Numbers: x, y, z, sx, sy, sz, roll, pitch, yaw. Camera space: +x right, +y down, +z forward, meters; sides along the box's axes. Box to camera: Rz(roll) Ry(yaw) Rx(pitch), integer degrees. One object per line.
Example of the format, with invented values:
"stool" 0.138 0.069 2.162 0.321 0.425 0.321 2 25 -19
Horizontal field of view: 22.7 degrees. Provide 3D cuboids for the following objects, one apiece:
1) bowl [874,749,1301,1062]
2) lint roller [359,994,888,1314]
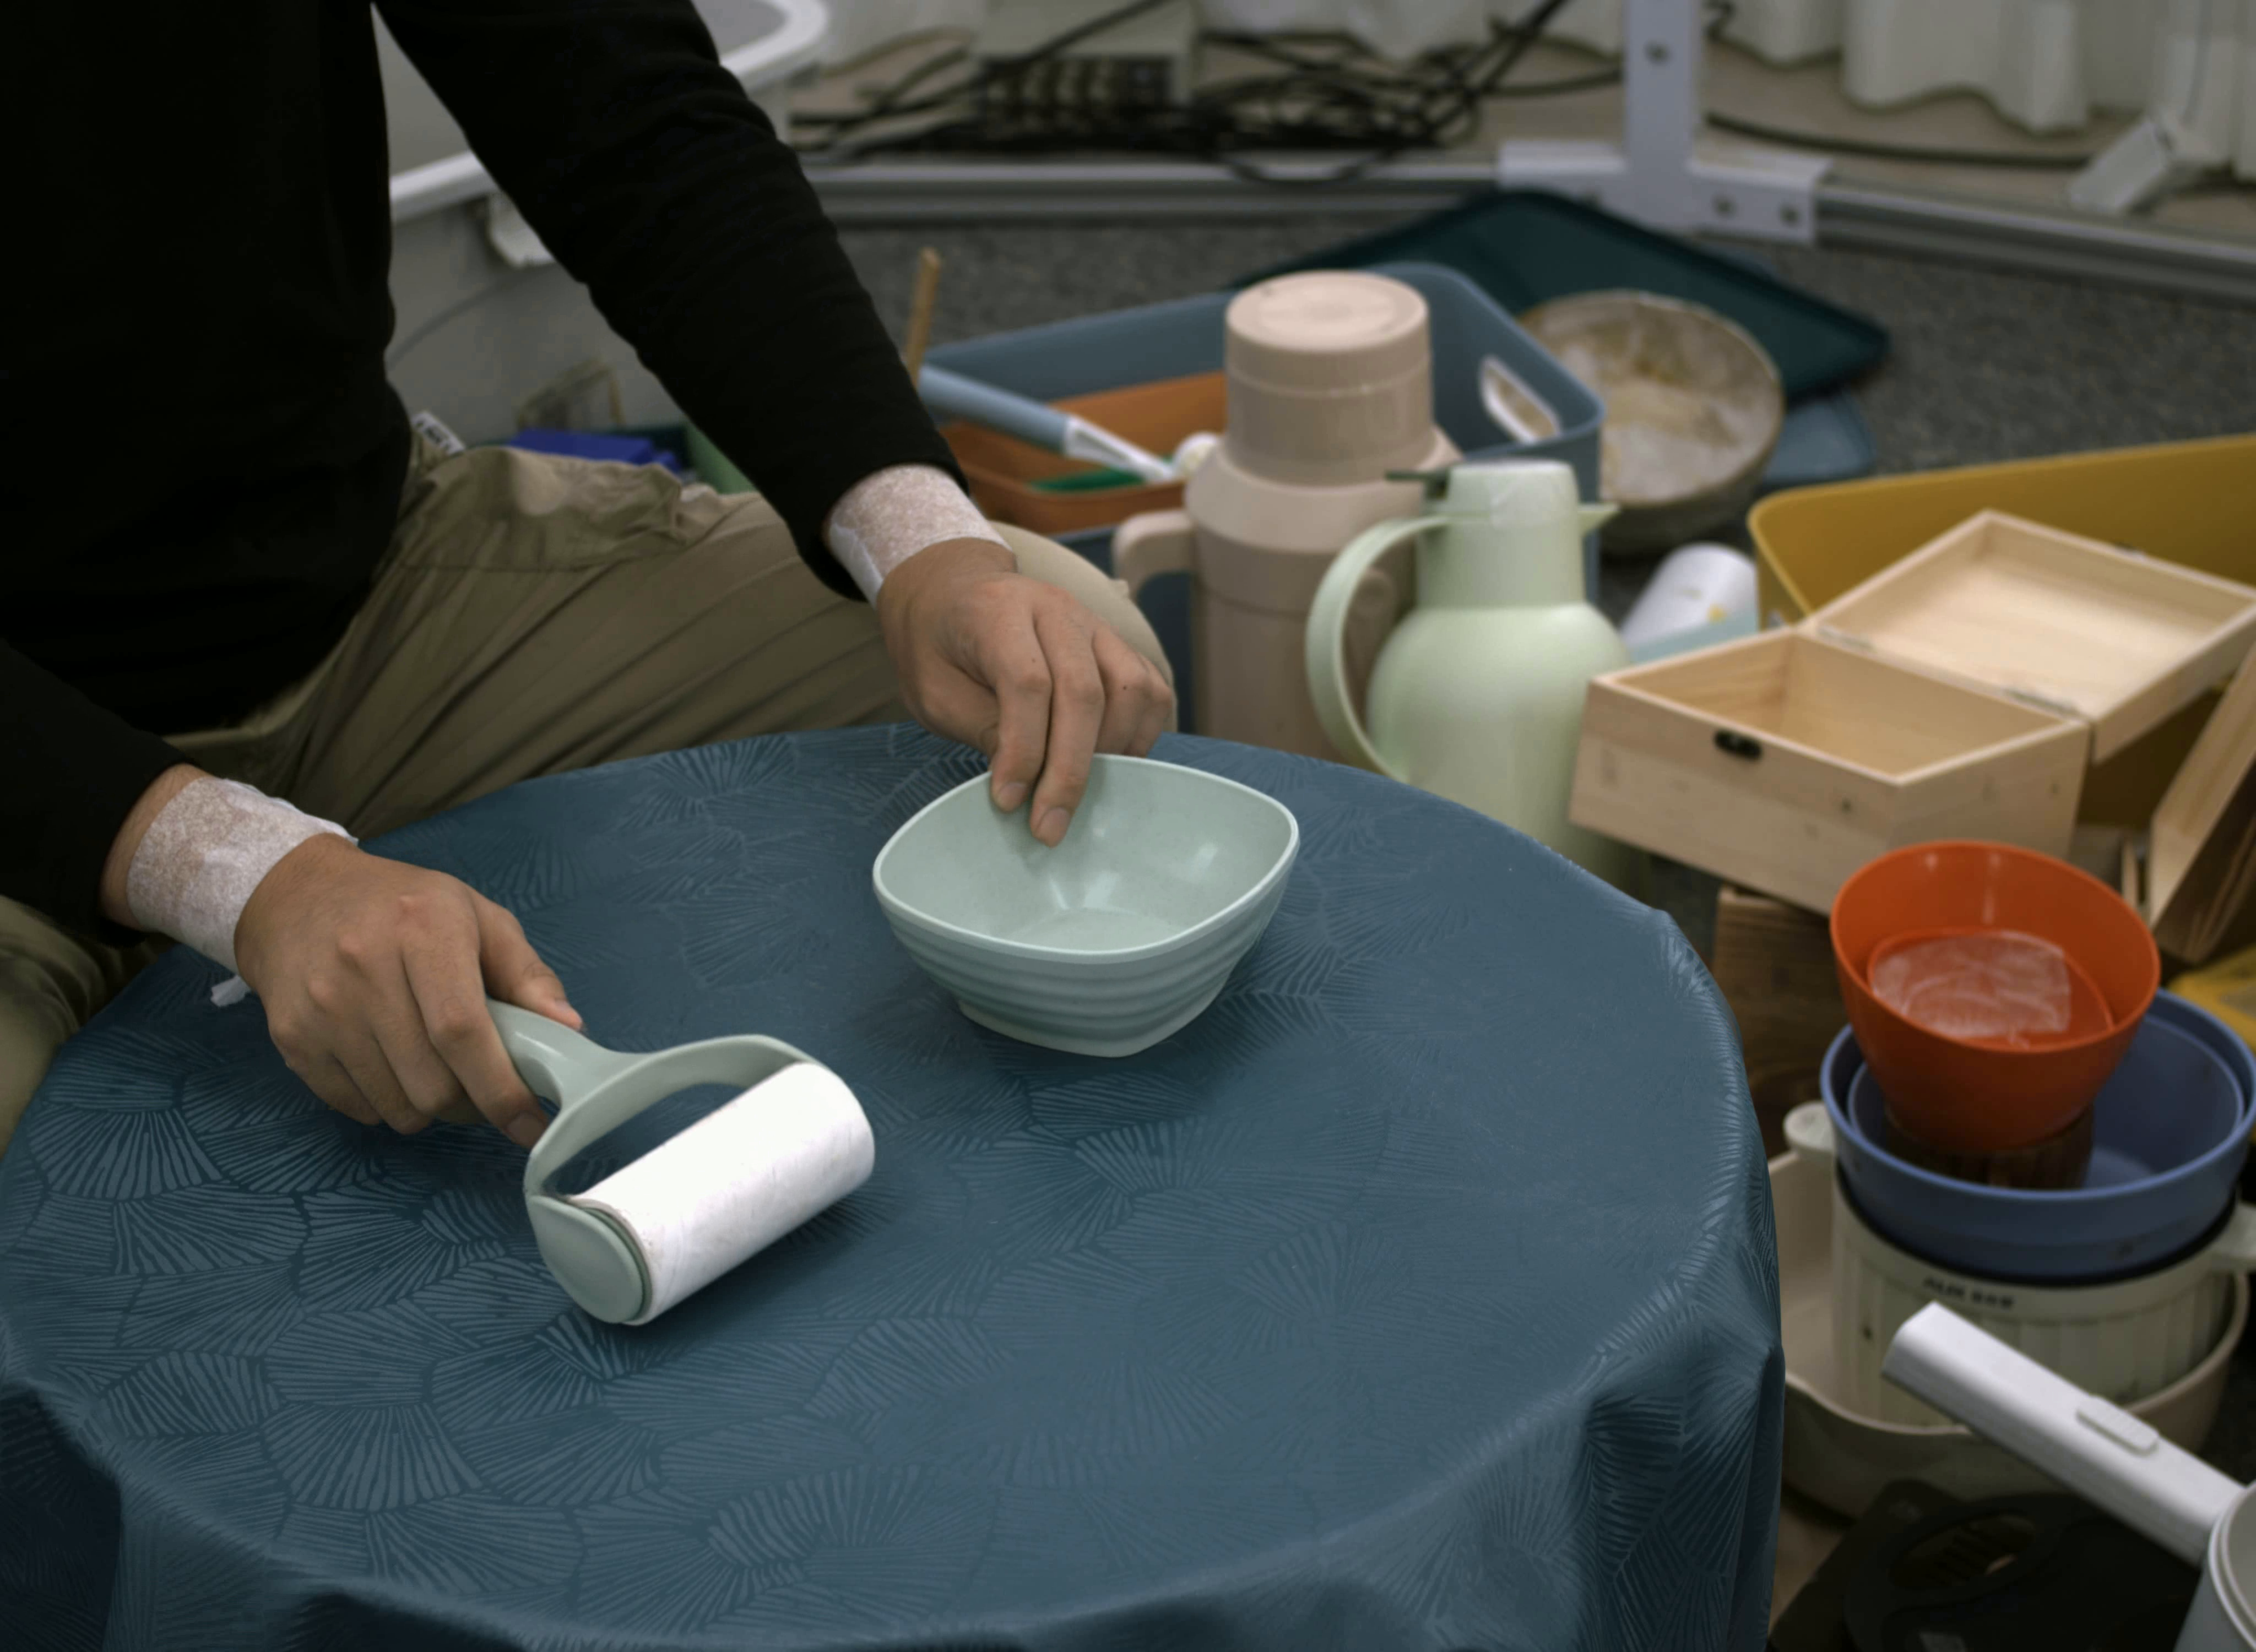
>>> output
"bowl" -0.013 0.034 1.972 0.151 0.058 0.154 -2 29 1
"lint roller" -0.183 0.088 1.866 0.197 0.048 0.118 26 43 33
